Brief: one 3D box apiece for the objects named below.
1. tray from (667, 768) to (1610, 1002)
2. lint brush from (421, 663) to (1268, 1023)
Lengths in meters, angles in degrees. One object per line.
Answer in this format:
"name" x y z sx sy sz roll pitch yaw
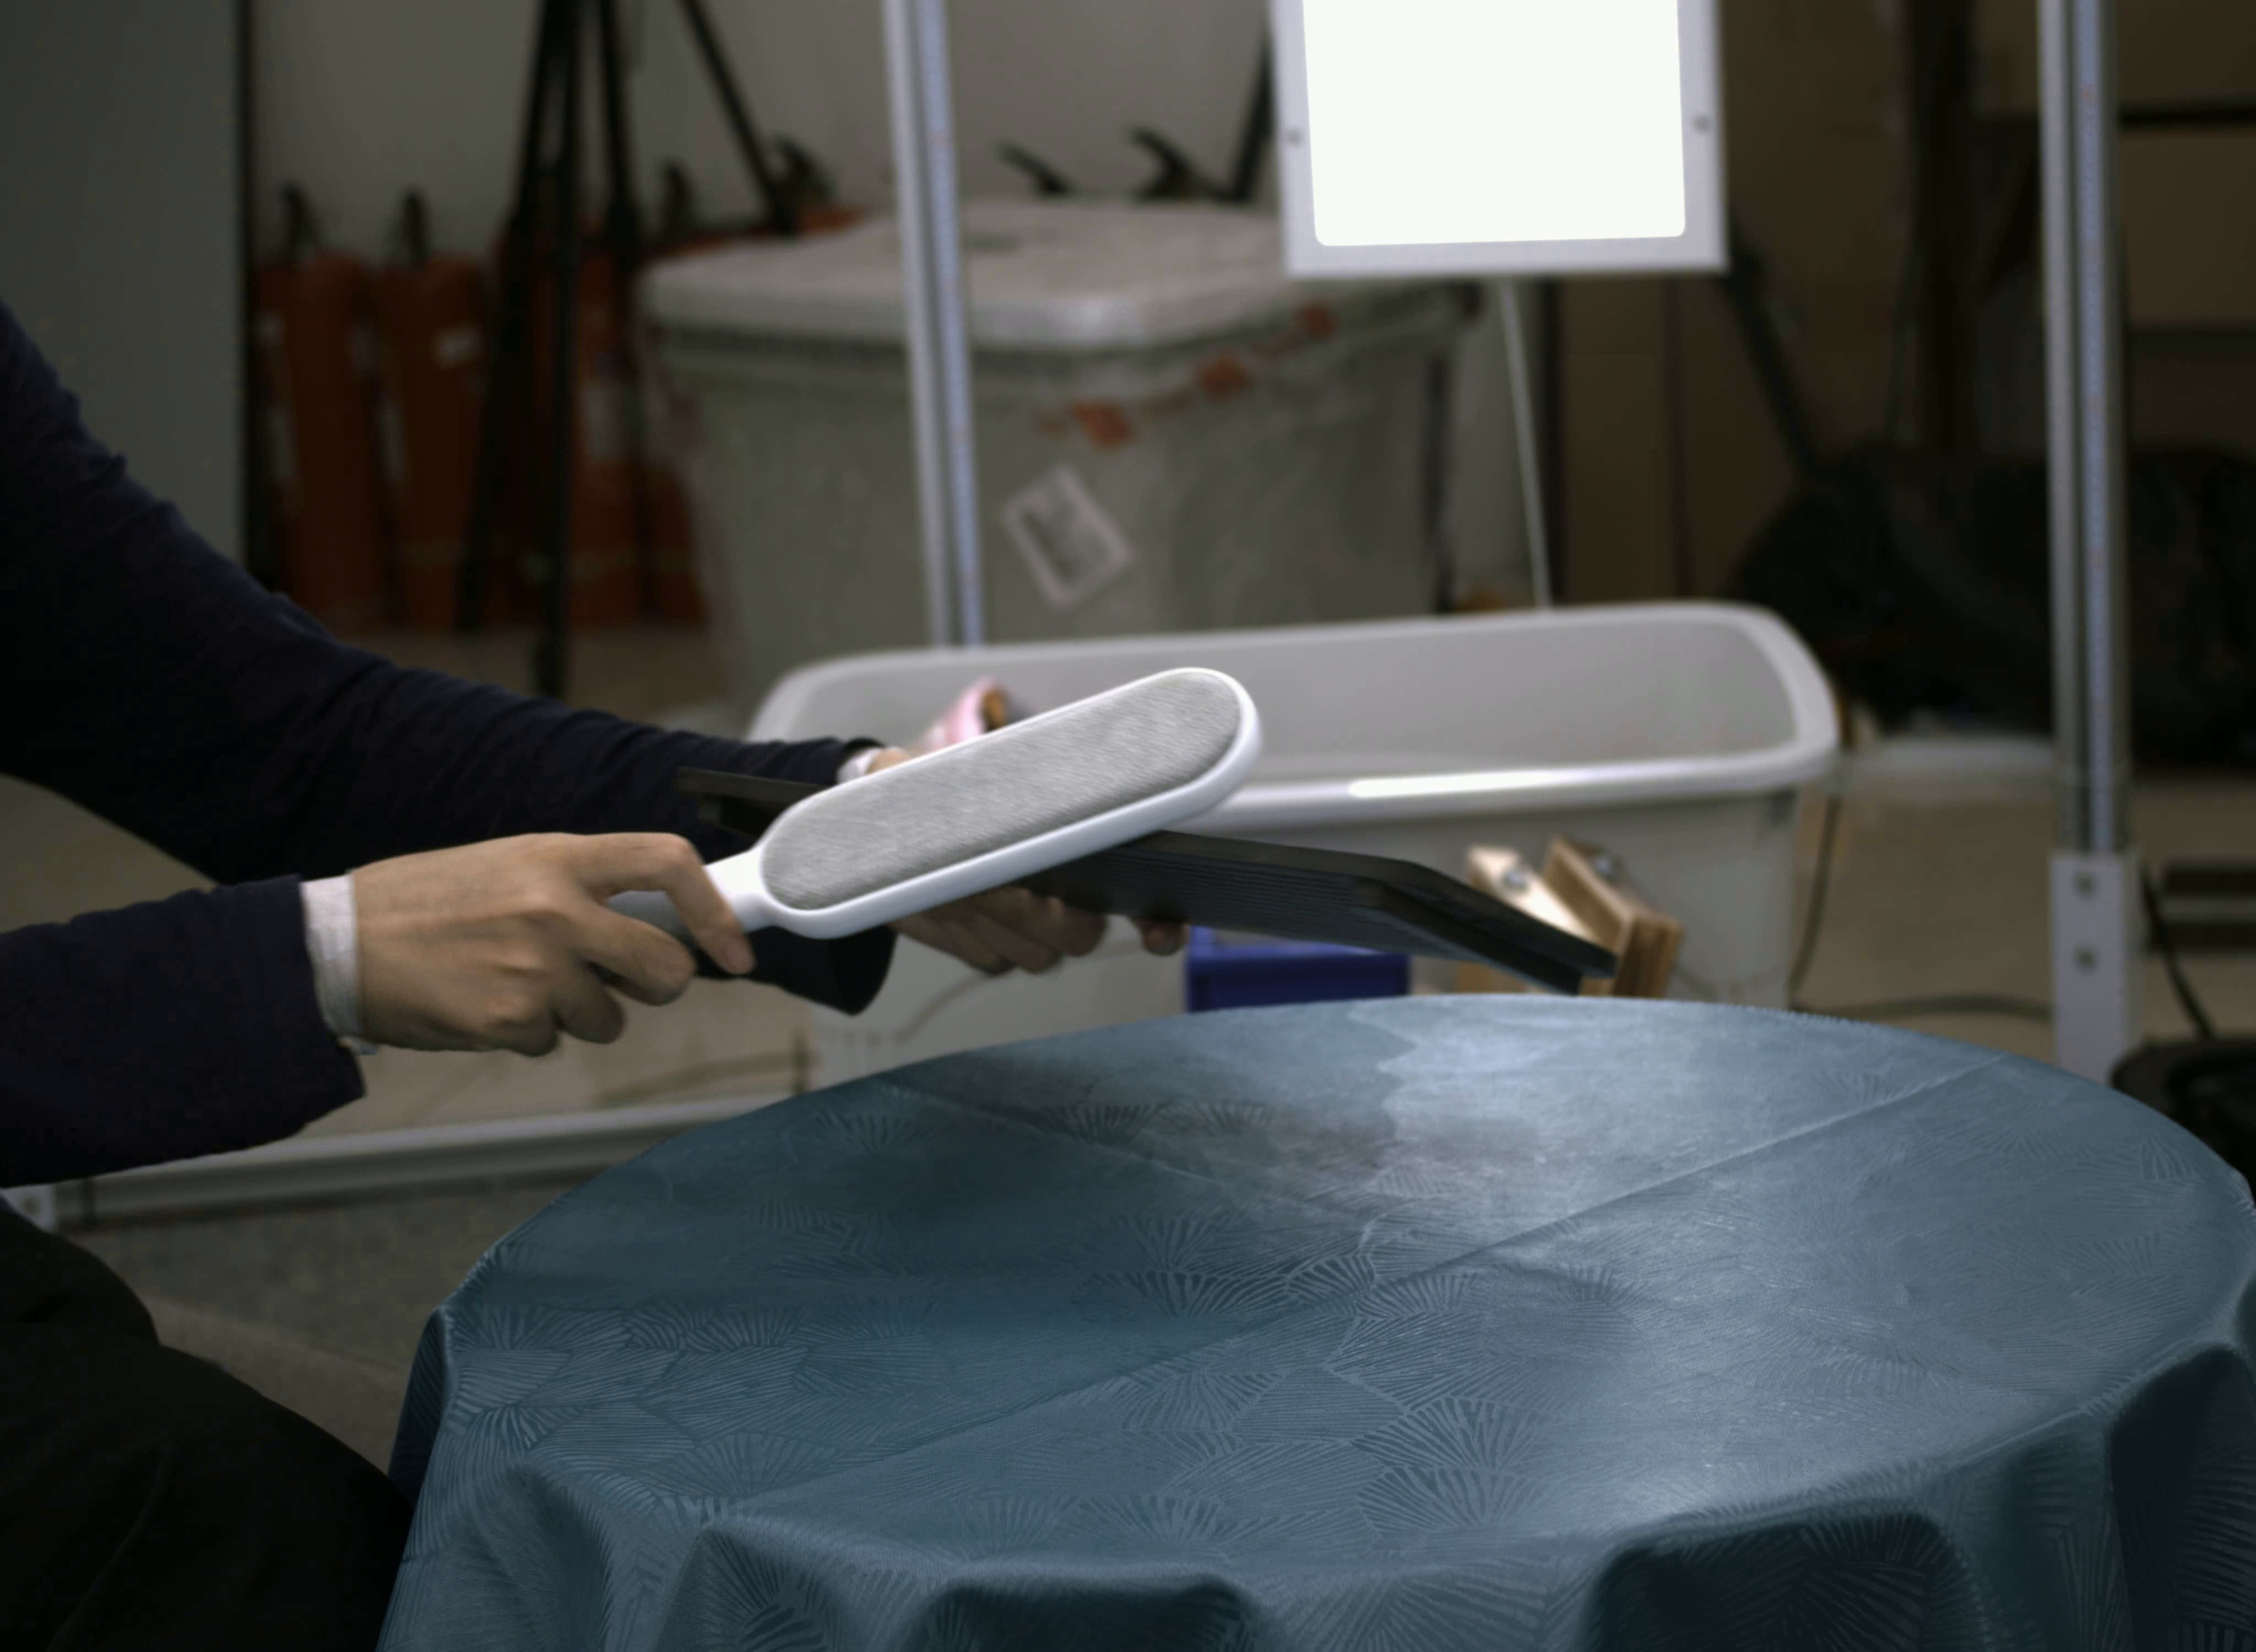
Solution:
"tray" 0.002 0.021 1.920 0.312 0.018 0.167 7 -9 33
"lint brush" -0.097 0.010 1.850 0.312 0.021 0.060 -18 53 15
